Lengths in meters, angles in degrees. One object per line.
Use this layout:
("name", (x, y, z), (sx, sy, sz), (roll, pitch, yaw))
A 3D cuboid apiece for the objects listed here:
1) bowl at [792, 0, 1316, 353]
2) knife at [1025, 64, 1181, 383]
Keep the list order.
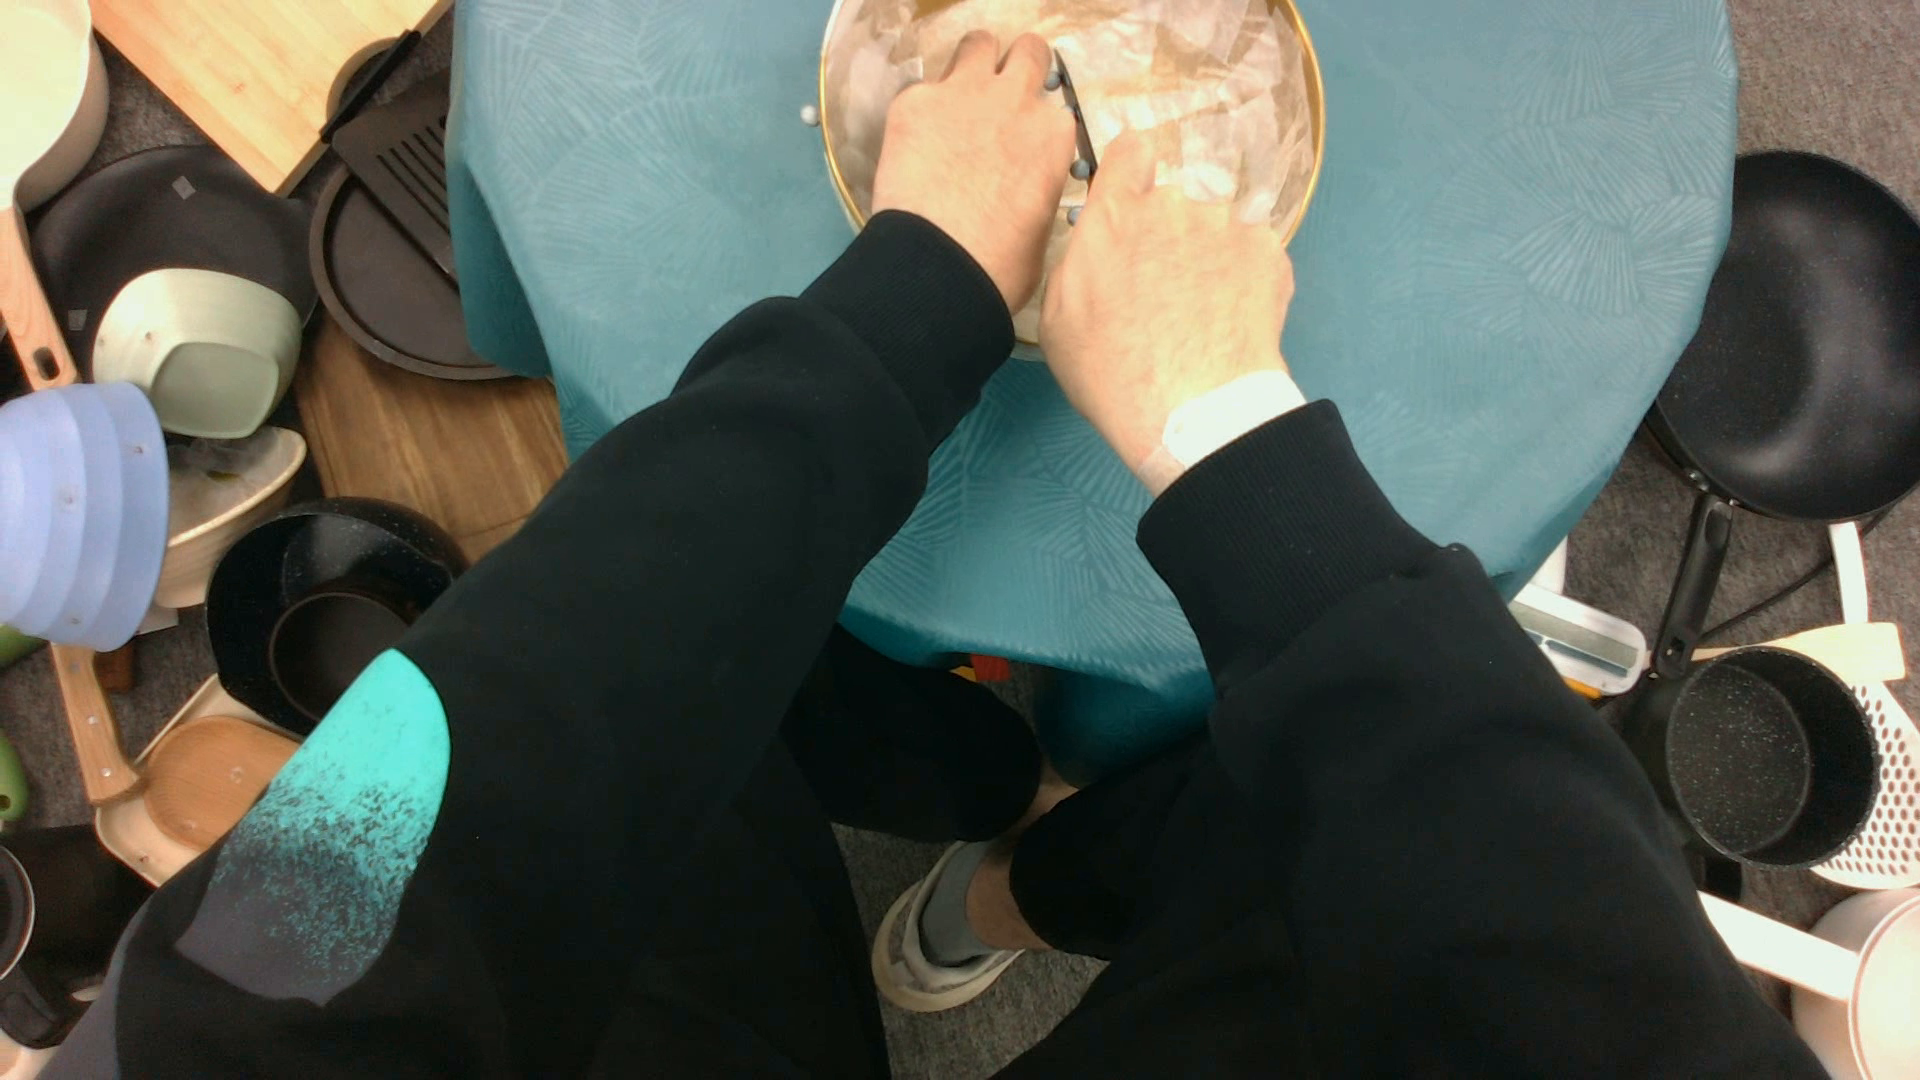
("bowl", (0.035, -0.163, 0.581), (0.215, 0.094, 0.215), (1, 78, -6))
("knife", (0.051, -0.140, 0.555), (0.017, 0.026, 0.226), (-8, 48, -7))
